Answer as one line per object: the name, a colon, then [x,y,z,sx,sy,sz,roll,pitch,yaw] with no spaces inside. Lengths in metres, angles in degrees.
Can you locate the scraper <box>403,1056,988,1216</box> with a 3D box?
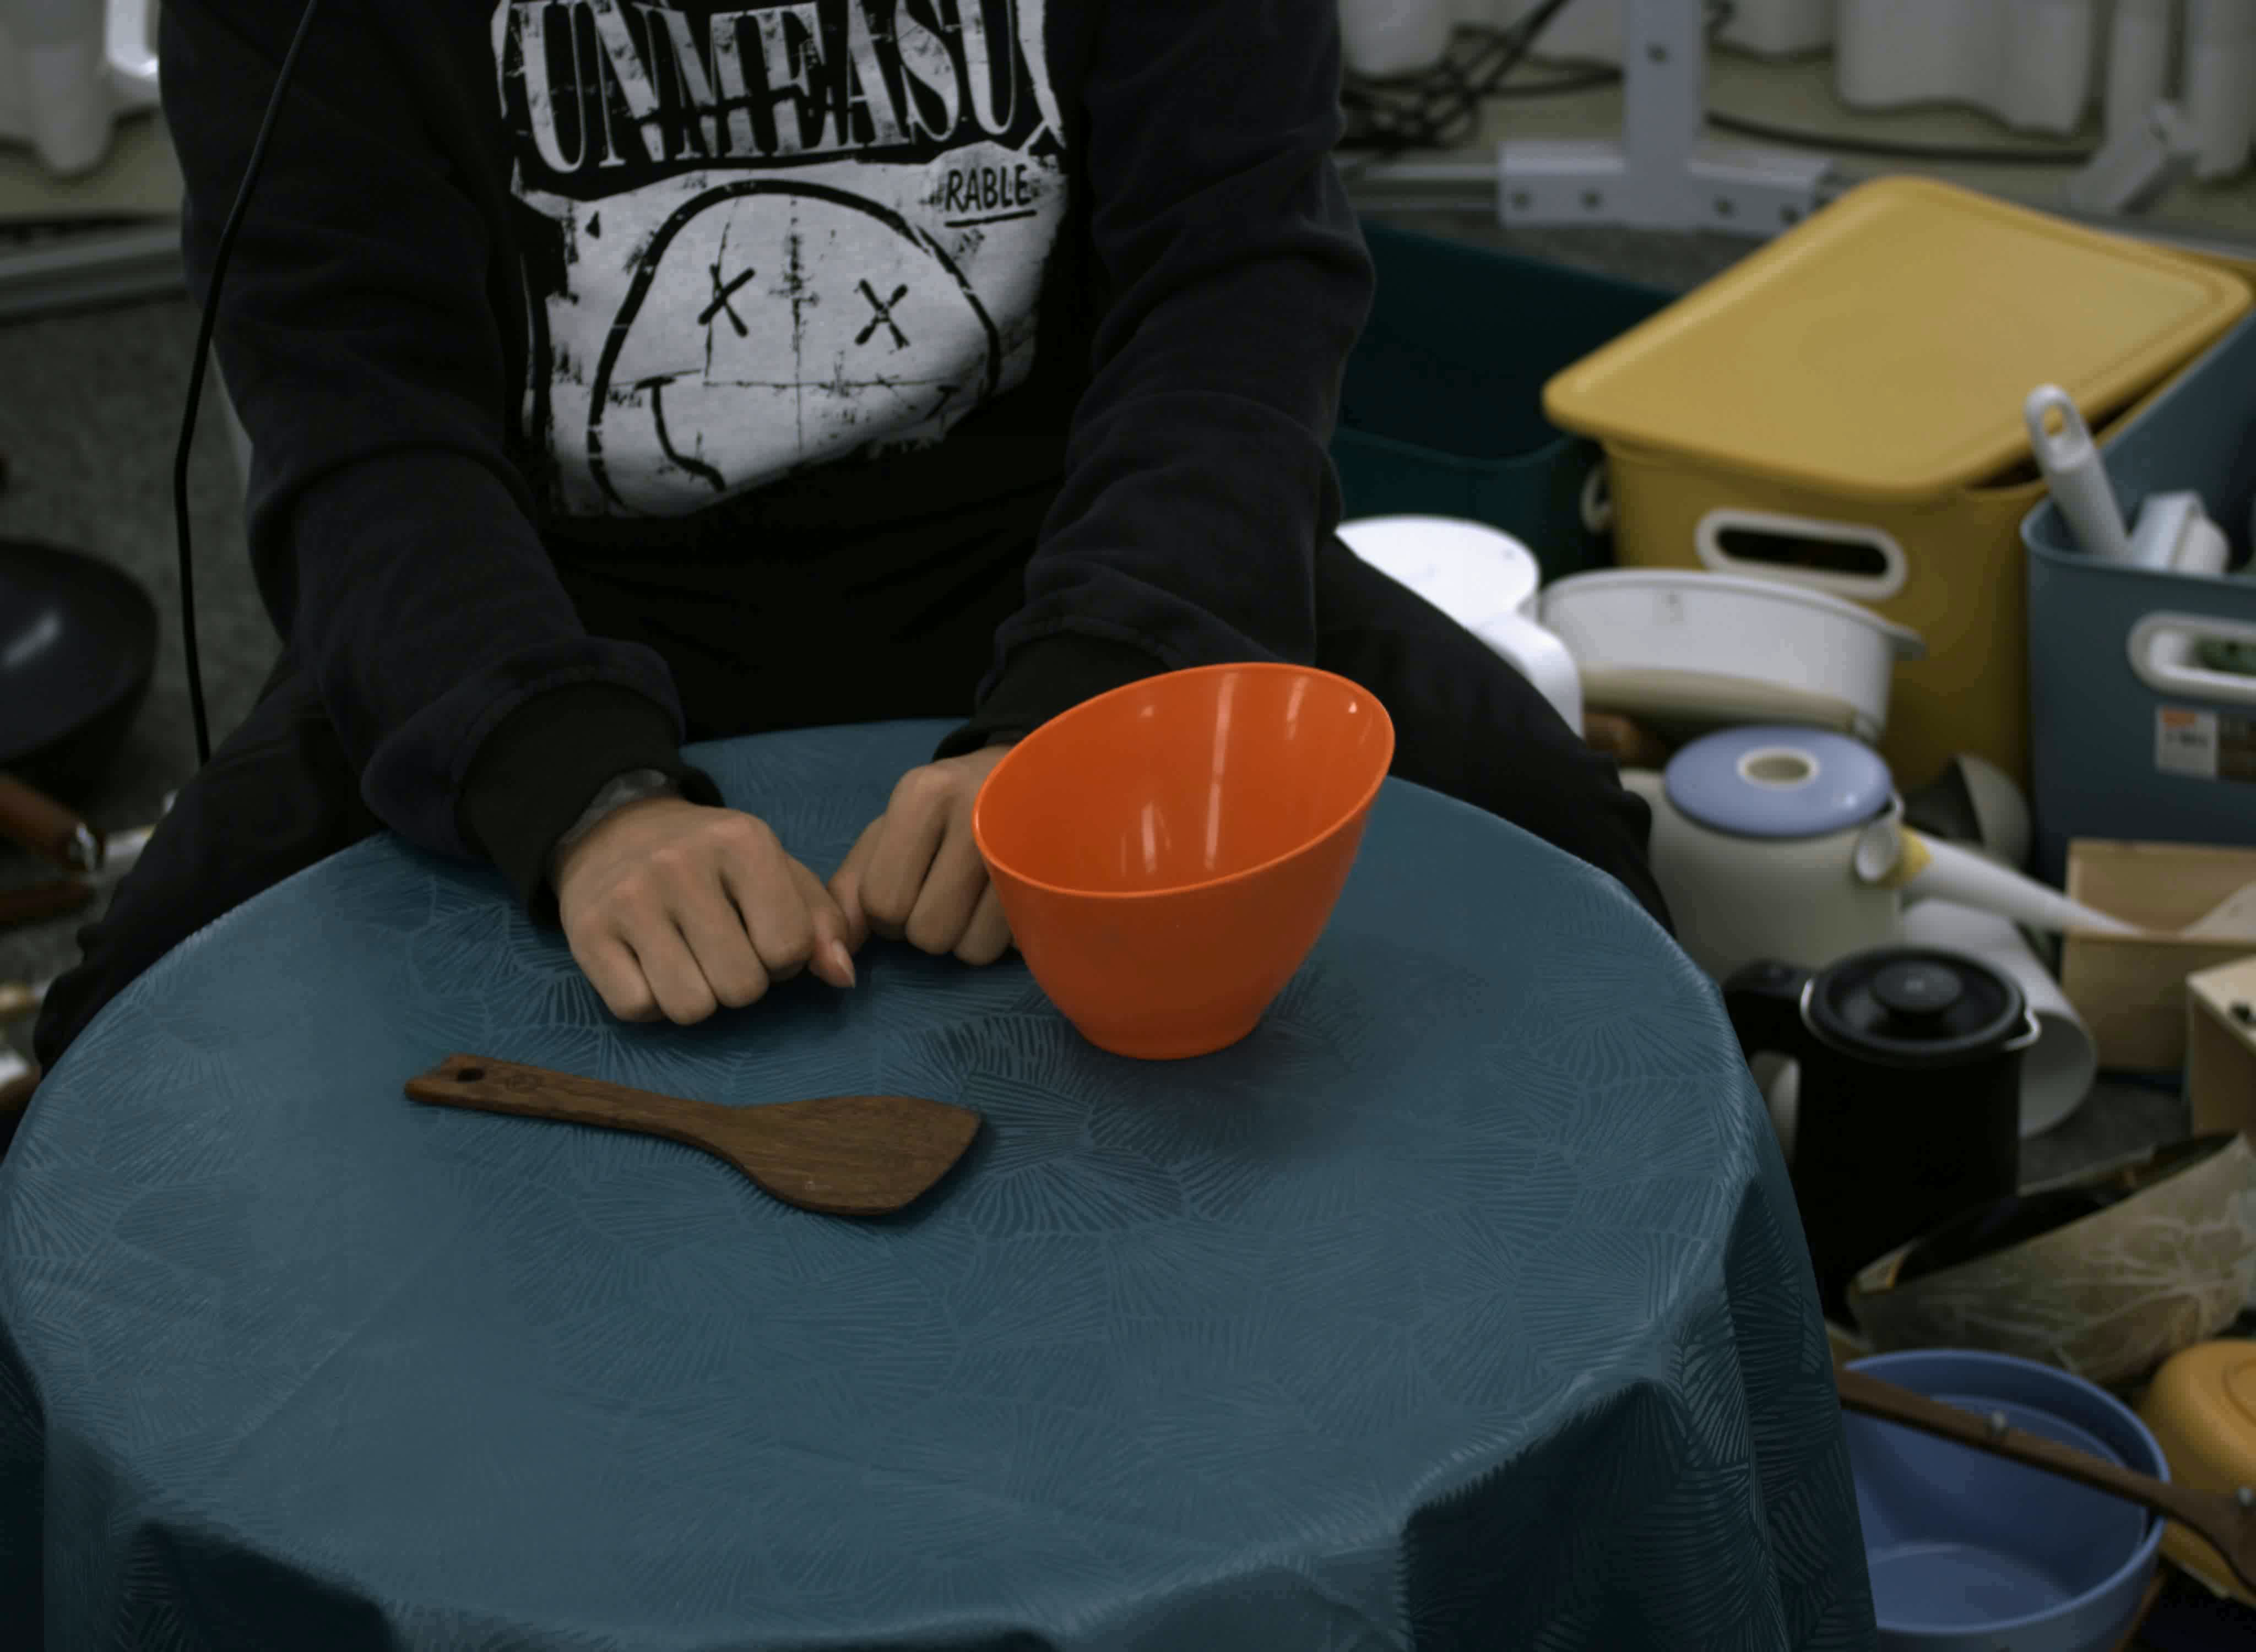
scraper: [-0.151,0.101,1.908,0.210,0.011,0.077,8,28,22]

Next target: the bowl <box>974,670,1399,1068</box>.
bowl: [0.022,0.021,1.946,0.147,0.103,0.150,-2,27,1]
